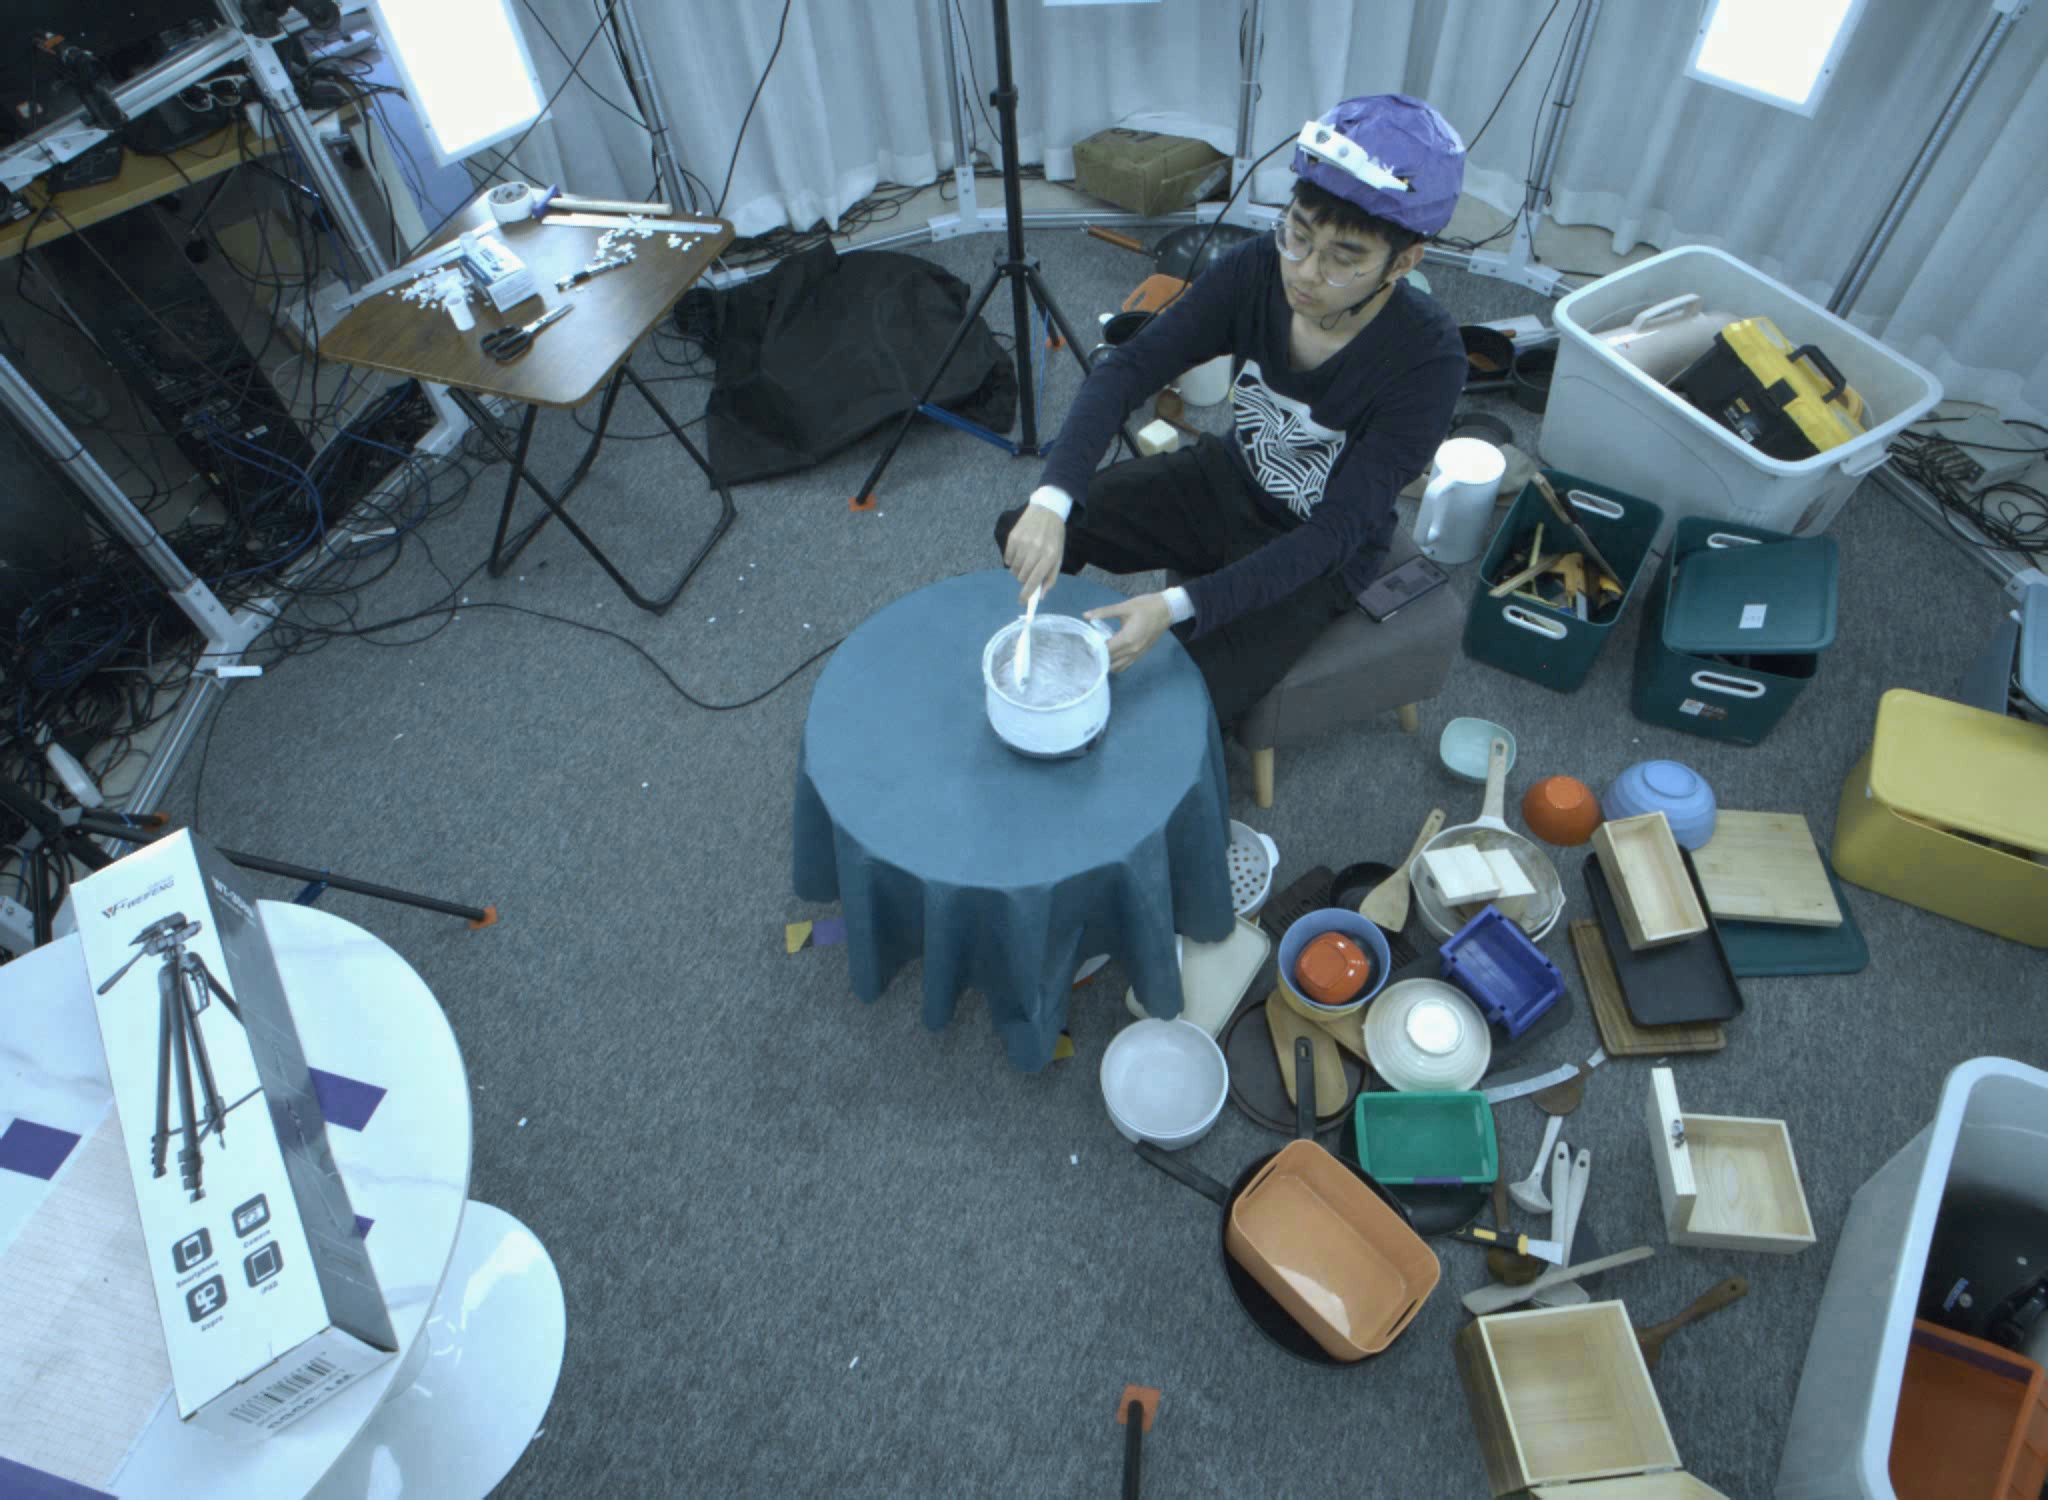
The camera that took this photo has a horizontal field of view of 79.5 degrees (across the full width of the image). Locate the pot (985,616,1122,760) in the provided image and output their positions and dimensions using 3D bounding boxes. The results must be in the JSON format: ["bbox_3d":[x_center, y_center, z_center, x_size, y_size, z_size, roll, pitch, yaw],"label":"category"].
[{"bbox_3d":[0.053,-0.101,1.785,0.176,0.138,0.235,39,62,24],"label":"pot"}]

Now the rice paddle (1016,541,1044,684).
[{"bbox_3d":[0.007,-0.191,1.719,0.029,0.069,0.204,3,80,5],"label":"rice paddle"}]
